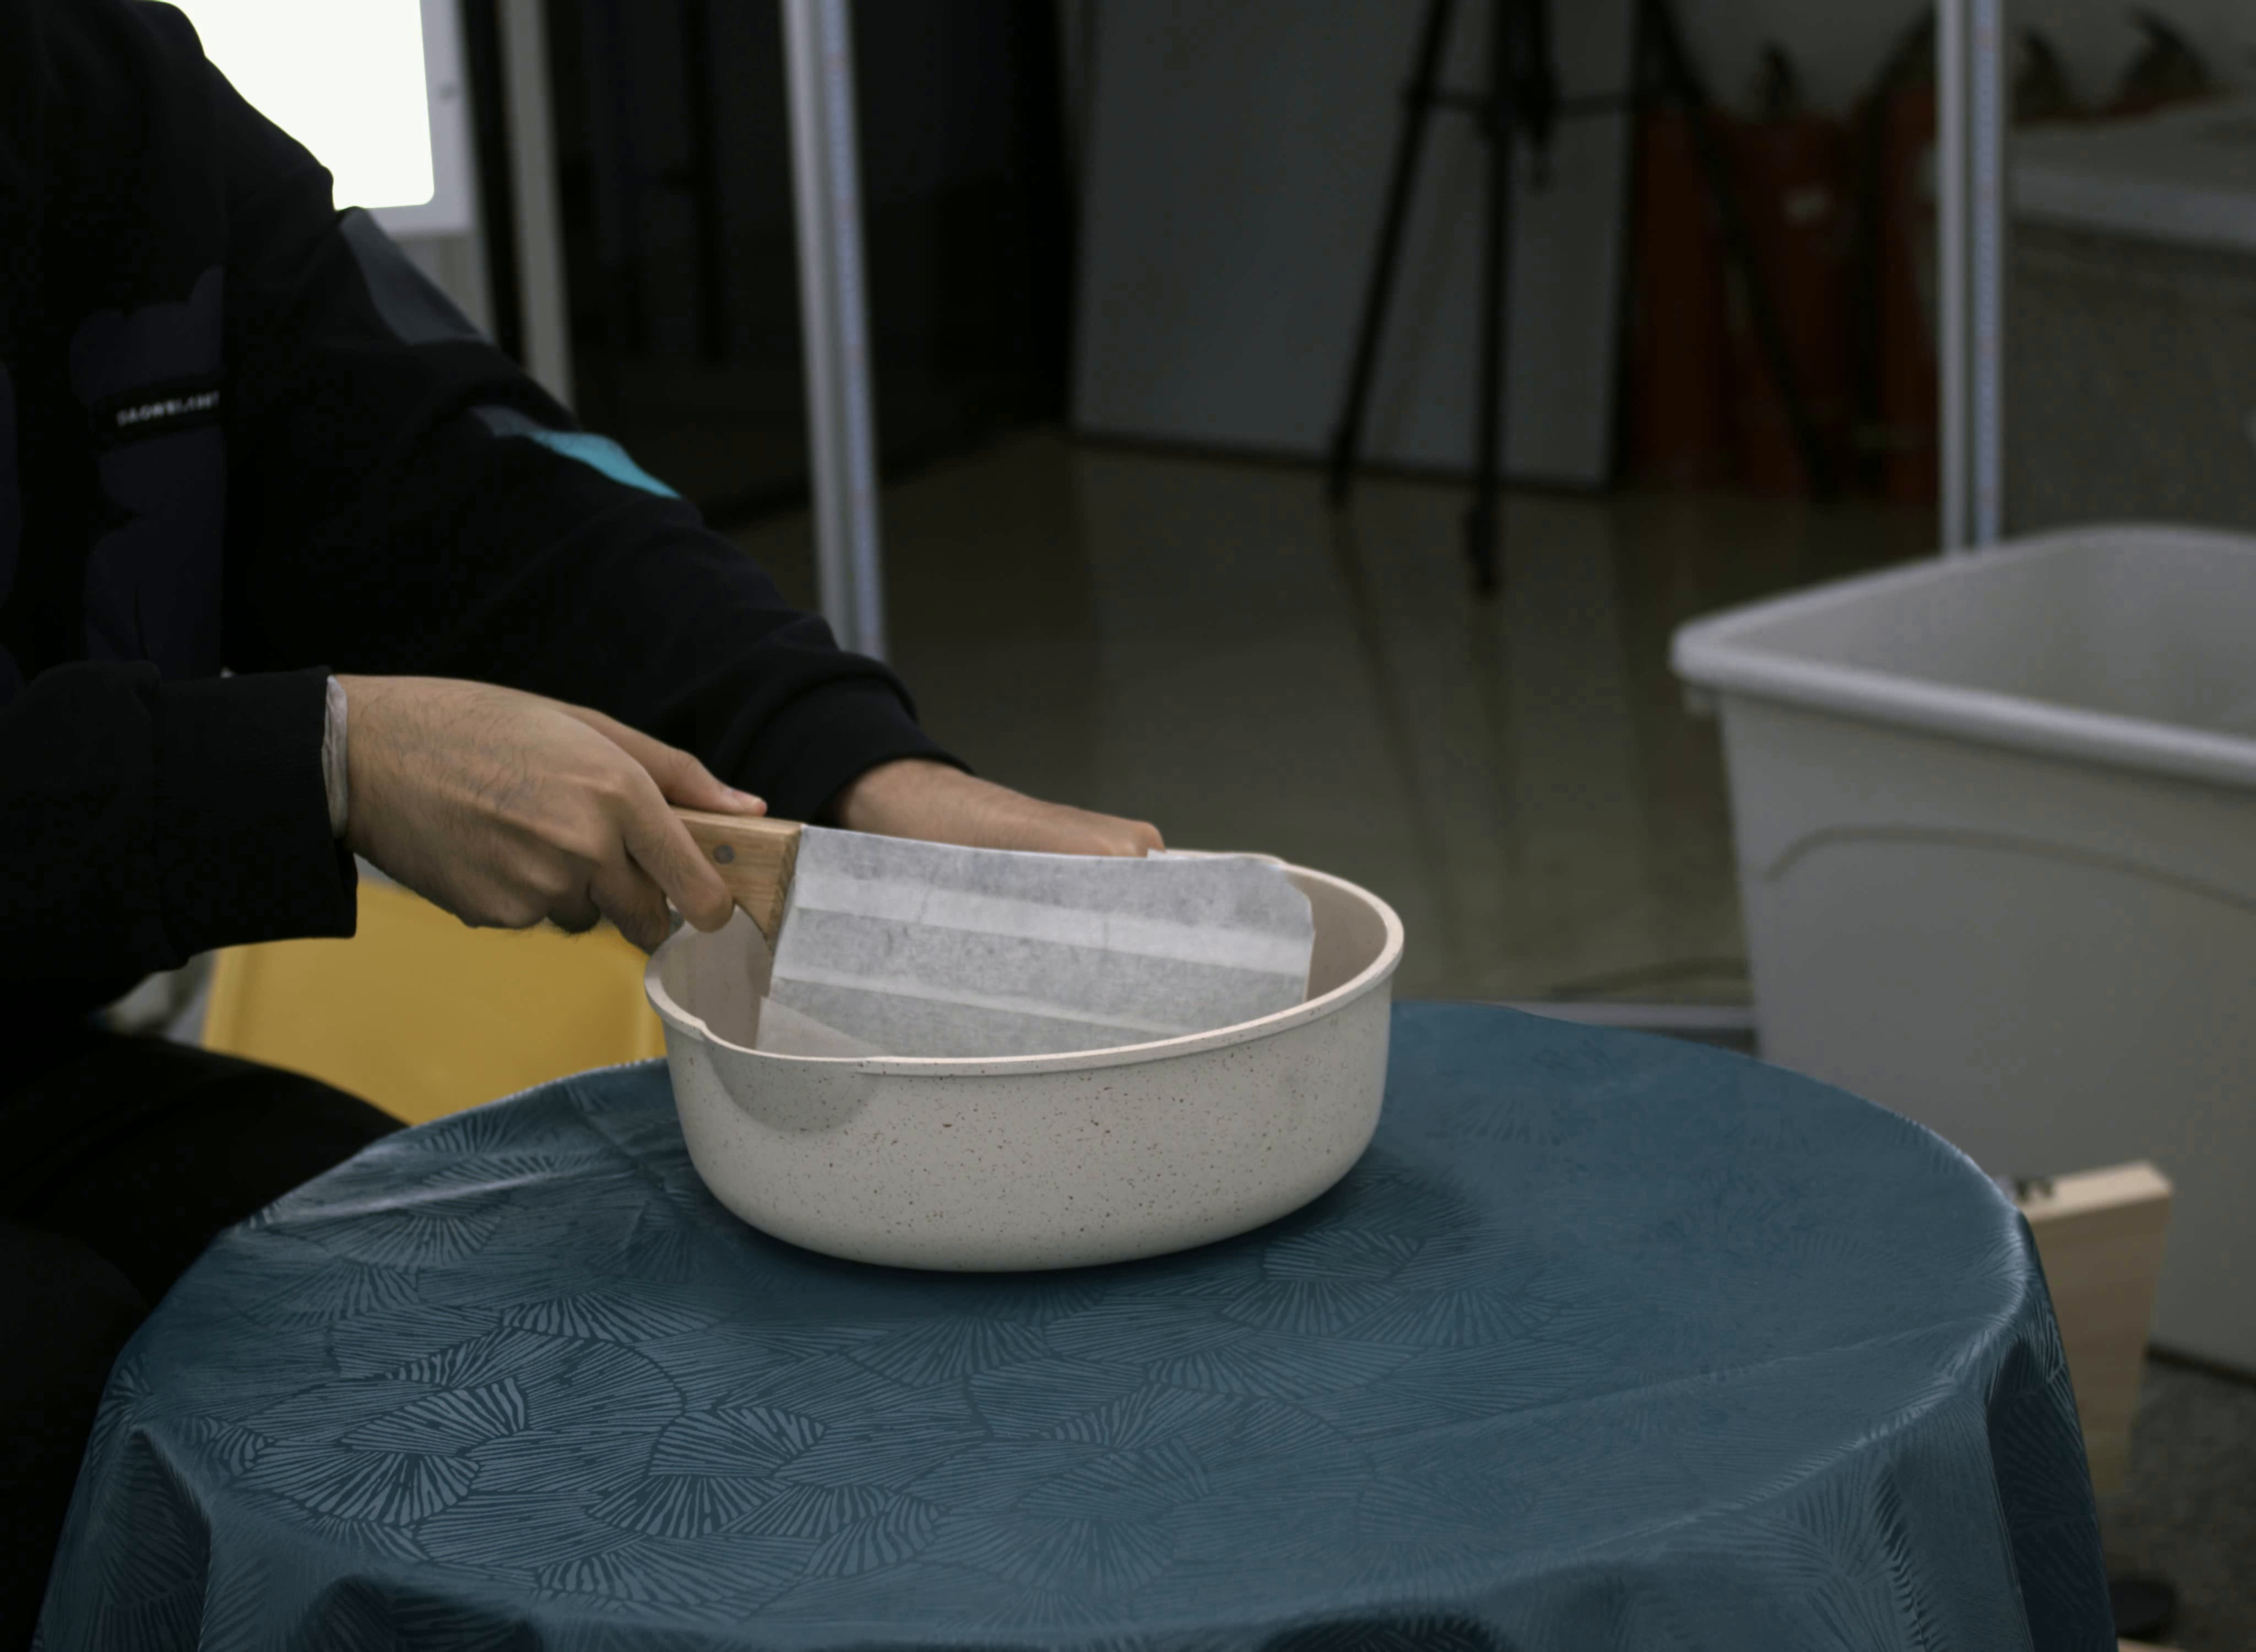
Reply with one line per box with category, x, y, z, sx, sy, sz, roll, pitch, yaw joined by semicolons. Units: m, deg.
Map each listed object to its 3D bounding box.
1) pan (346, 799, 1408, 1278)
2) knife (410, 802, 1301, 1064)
pan;-0.101;0.061;1.835;0.438;0.103;0.258;7;20;38
knife;-0.088;0.036;1.772;0.313;0.115;0.021;12;6;12
